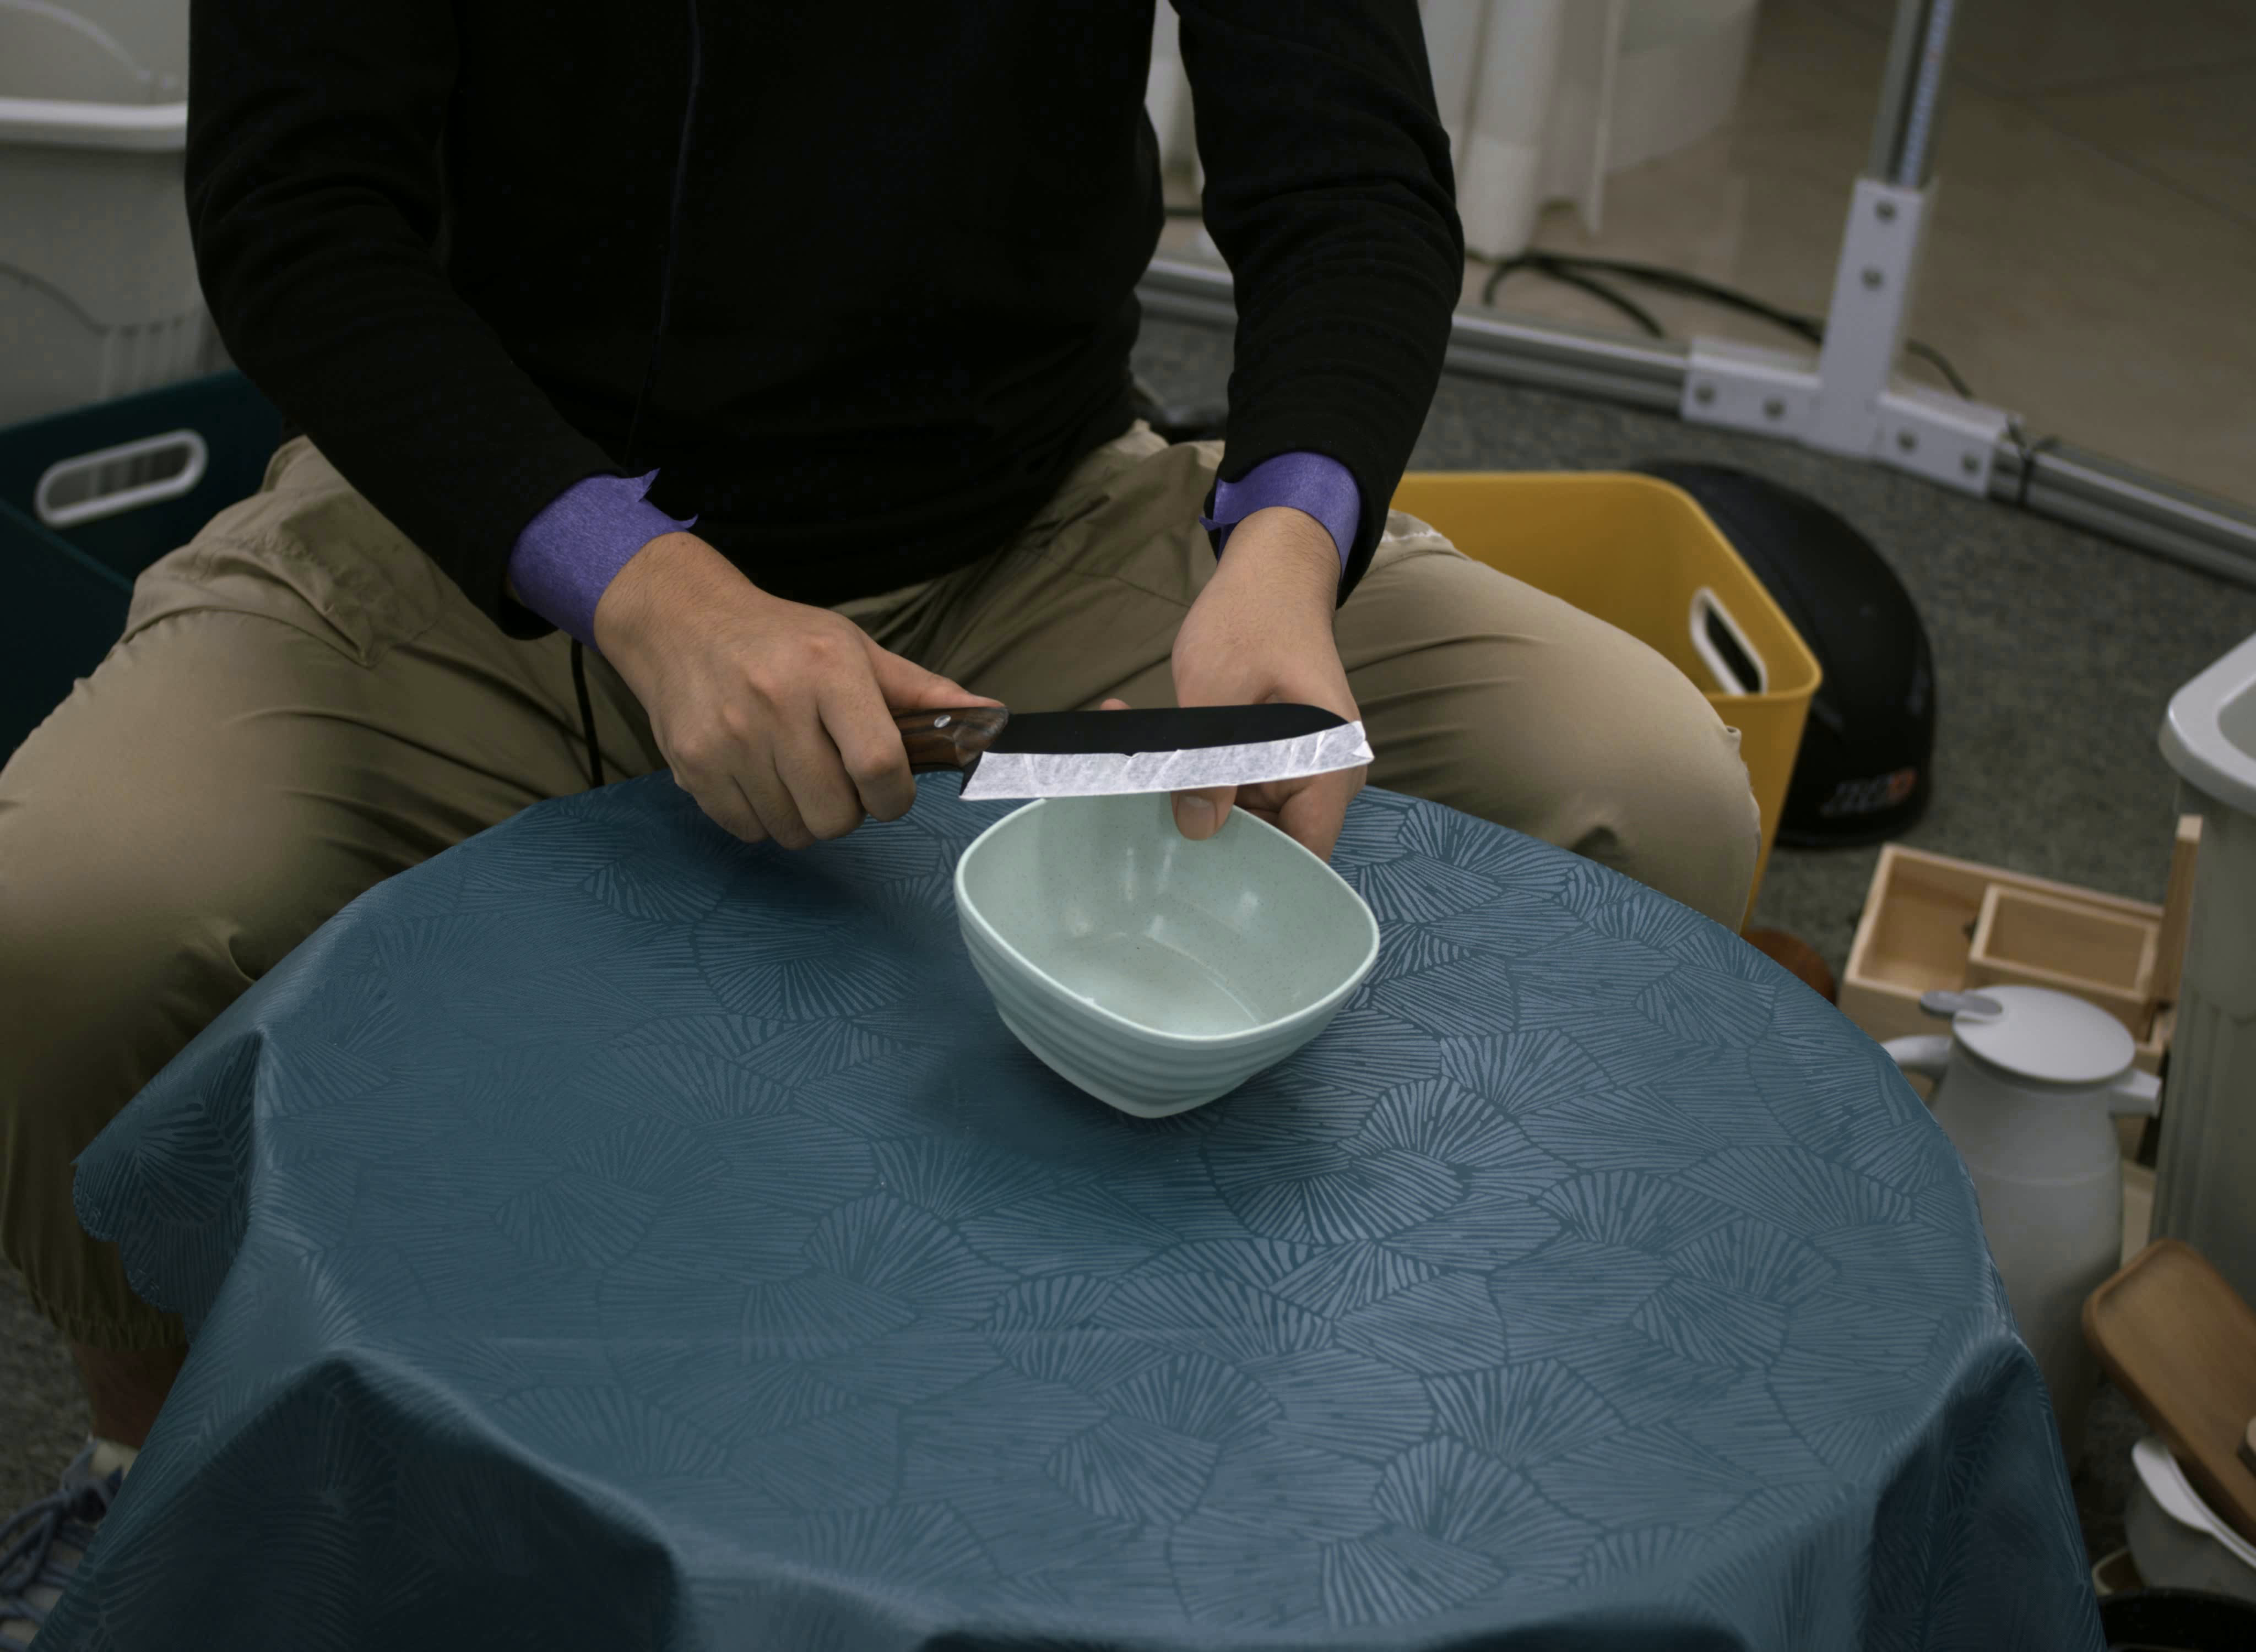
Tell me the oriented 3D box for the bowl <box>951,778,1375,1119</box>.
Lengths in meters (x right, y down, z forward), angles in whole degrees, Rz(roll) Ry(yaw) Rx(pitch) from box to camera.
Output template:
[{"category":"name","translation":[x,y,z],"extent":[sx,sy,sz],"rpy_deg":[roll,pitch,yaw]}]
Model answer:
[{"category":"bowl","translation":[0.007,0.049,1.866],"extent":[0.151,0.058,0.152],"rpy_deg":[9,36,-7]}]

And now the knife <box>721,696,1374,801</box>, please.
[{"category":"knife","translation":[-0.033,-0.027,1.911],"extent":[0.290,0.020,0.050],"rpy_deg":[0,46,35]}]
